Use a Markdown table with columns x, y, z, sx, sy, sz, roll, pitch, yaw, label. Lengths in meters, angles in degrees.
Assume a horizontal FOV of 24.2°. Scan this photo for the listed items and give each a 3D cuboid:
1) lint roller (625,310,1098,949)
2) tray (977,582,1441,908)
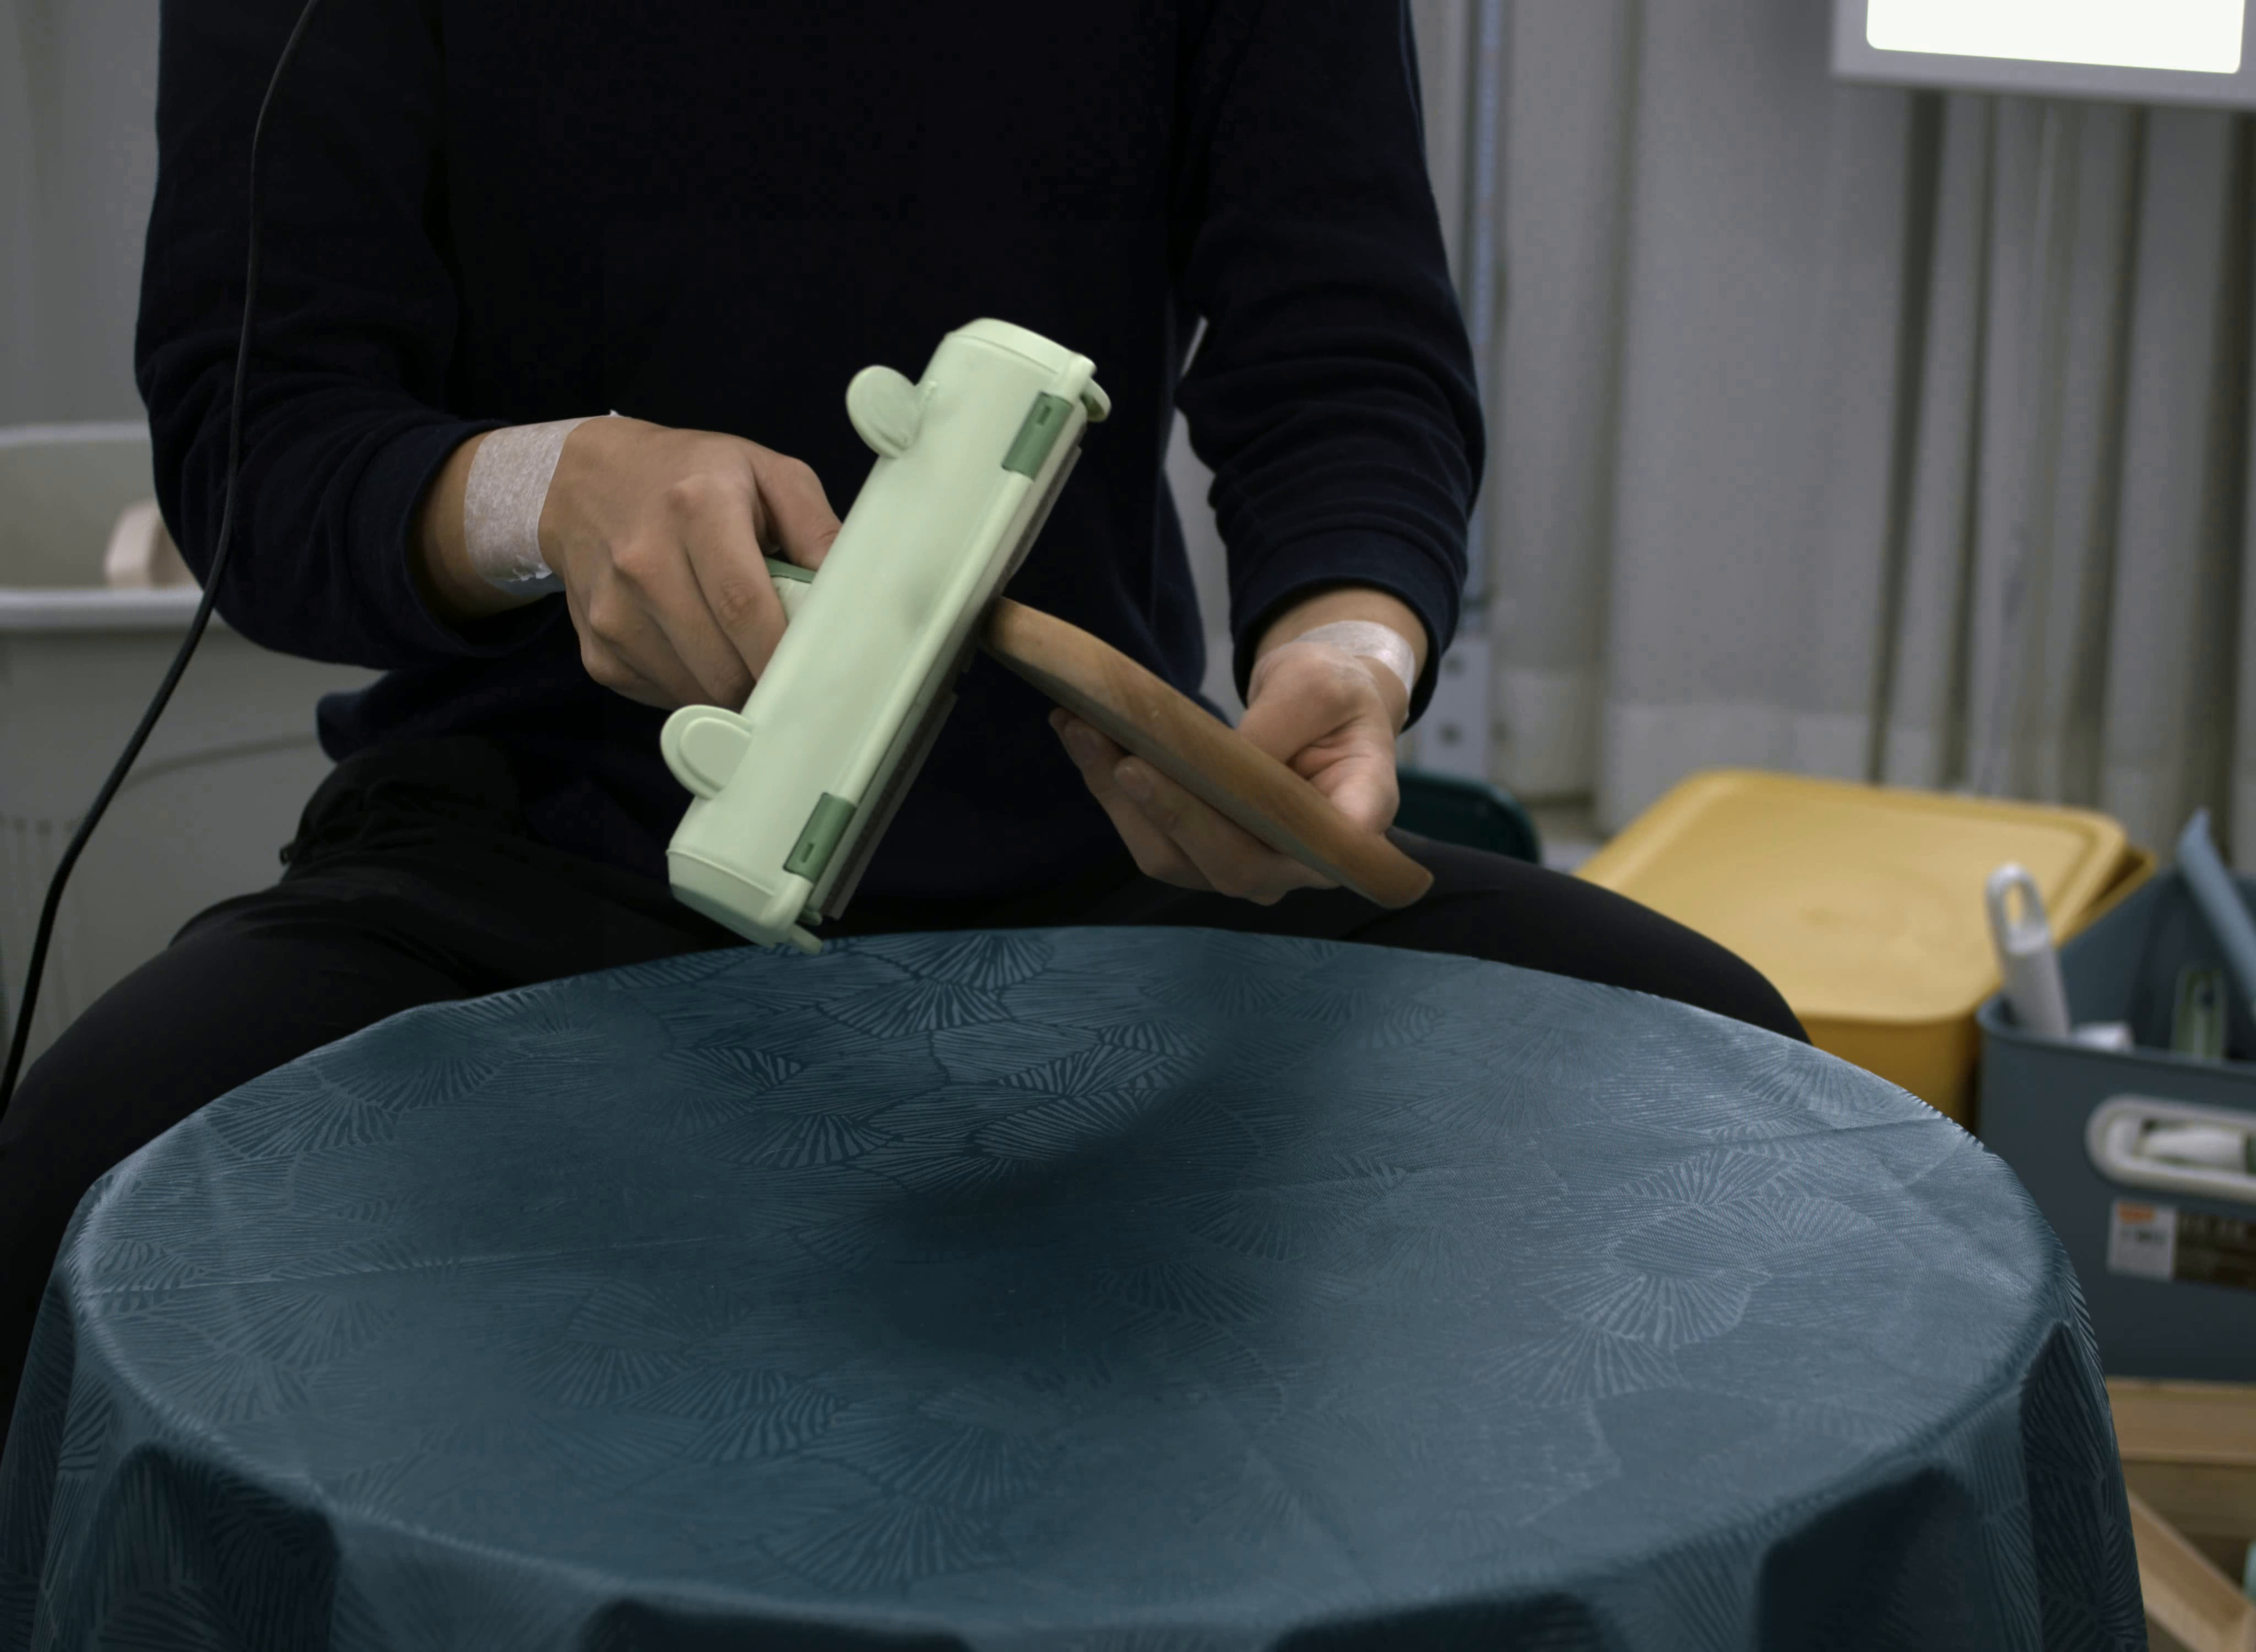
| x | y | z | sx | sy | sz | roll | pitch | yaw | label |
| --- | --- | --- | --- | --- | --- | --- | --- | --- | --- |
| -0.113 | -0.072 | 1.589 | 0.181 | 0.198 | 0.083 | 17 | -14 | 45 | lint roller |
| 0.015 | -0.026 | 1.541 | 0.131 | 0.023 | 0.249 | 38 | -2 | -11 | tray |
